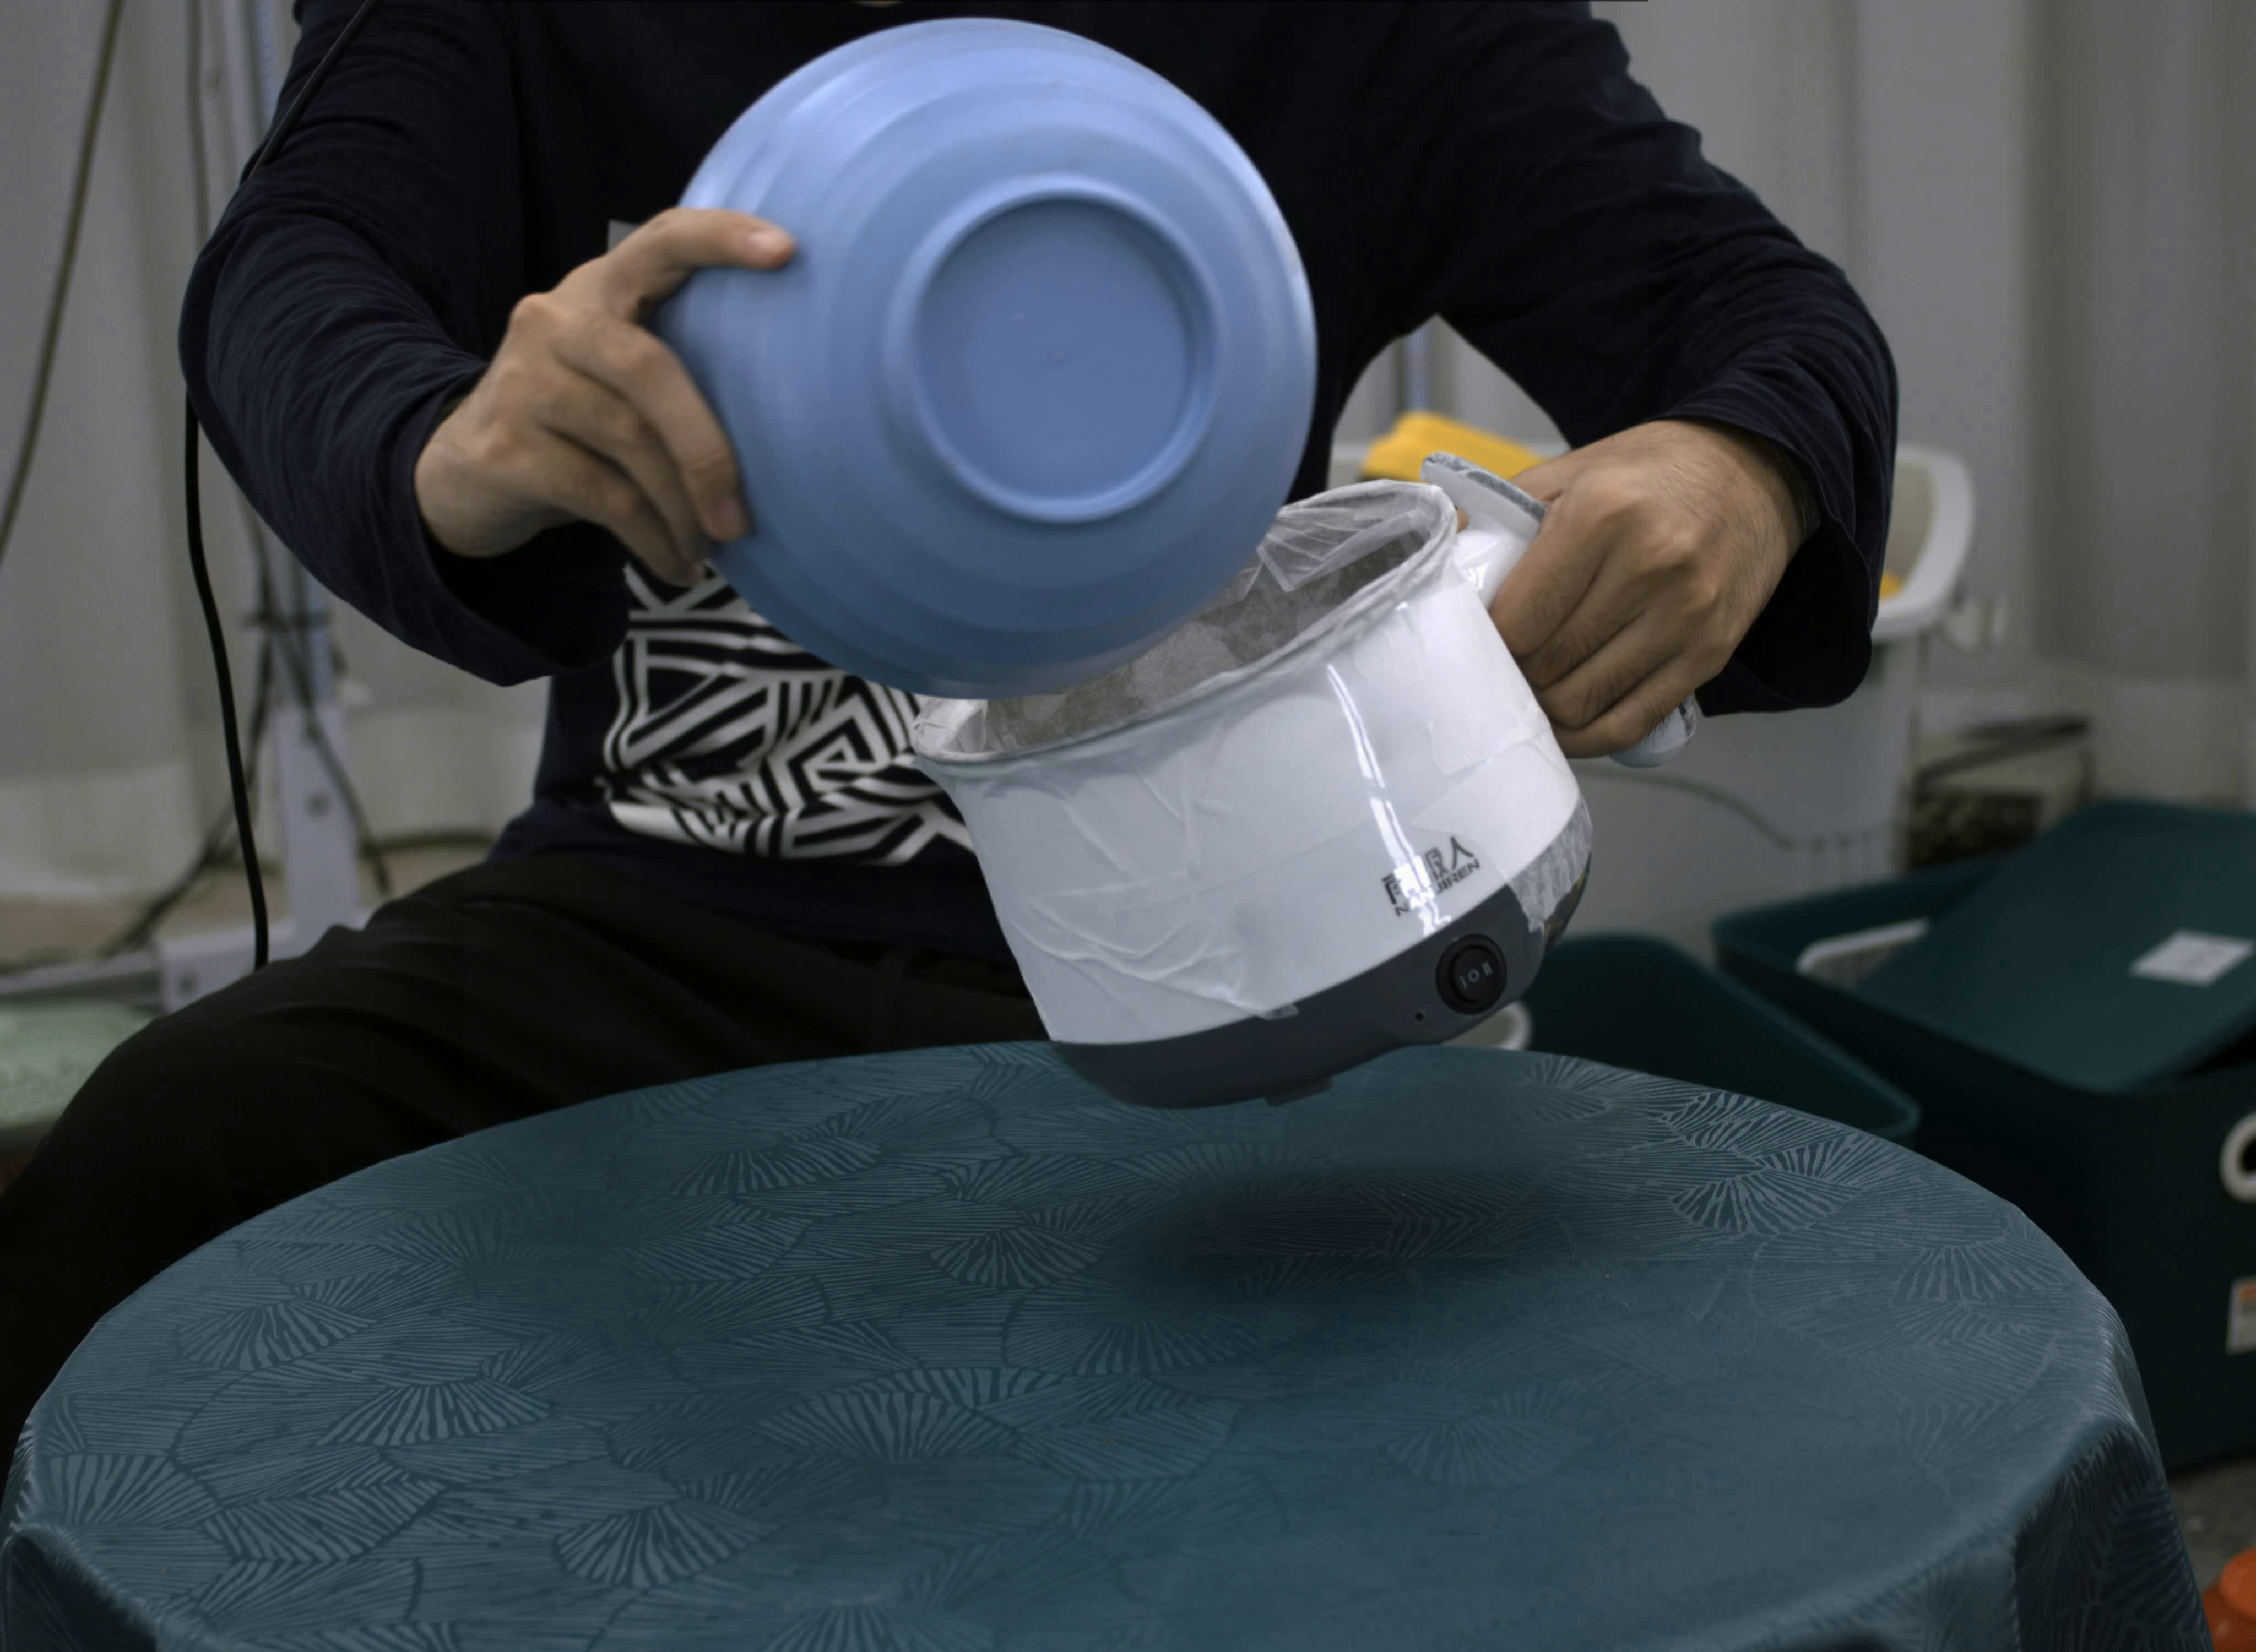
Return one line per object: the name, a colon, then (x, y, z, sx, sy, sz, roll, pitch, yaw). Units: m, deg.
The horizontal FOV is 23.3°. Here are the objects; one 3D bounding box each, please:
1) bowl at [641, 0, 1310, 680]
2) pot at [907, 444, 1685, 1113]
bowl: (-0.032, -0.133, 1.536, 0.195, 0.196, 0.096, -6, 10, -14)
pot: (0.061, -0.021, 1.655, 0.234, 0.135, 0.179, -33, 20, -24)
